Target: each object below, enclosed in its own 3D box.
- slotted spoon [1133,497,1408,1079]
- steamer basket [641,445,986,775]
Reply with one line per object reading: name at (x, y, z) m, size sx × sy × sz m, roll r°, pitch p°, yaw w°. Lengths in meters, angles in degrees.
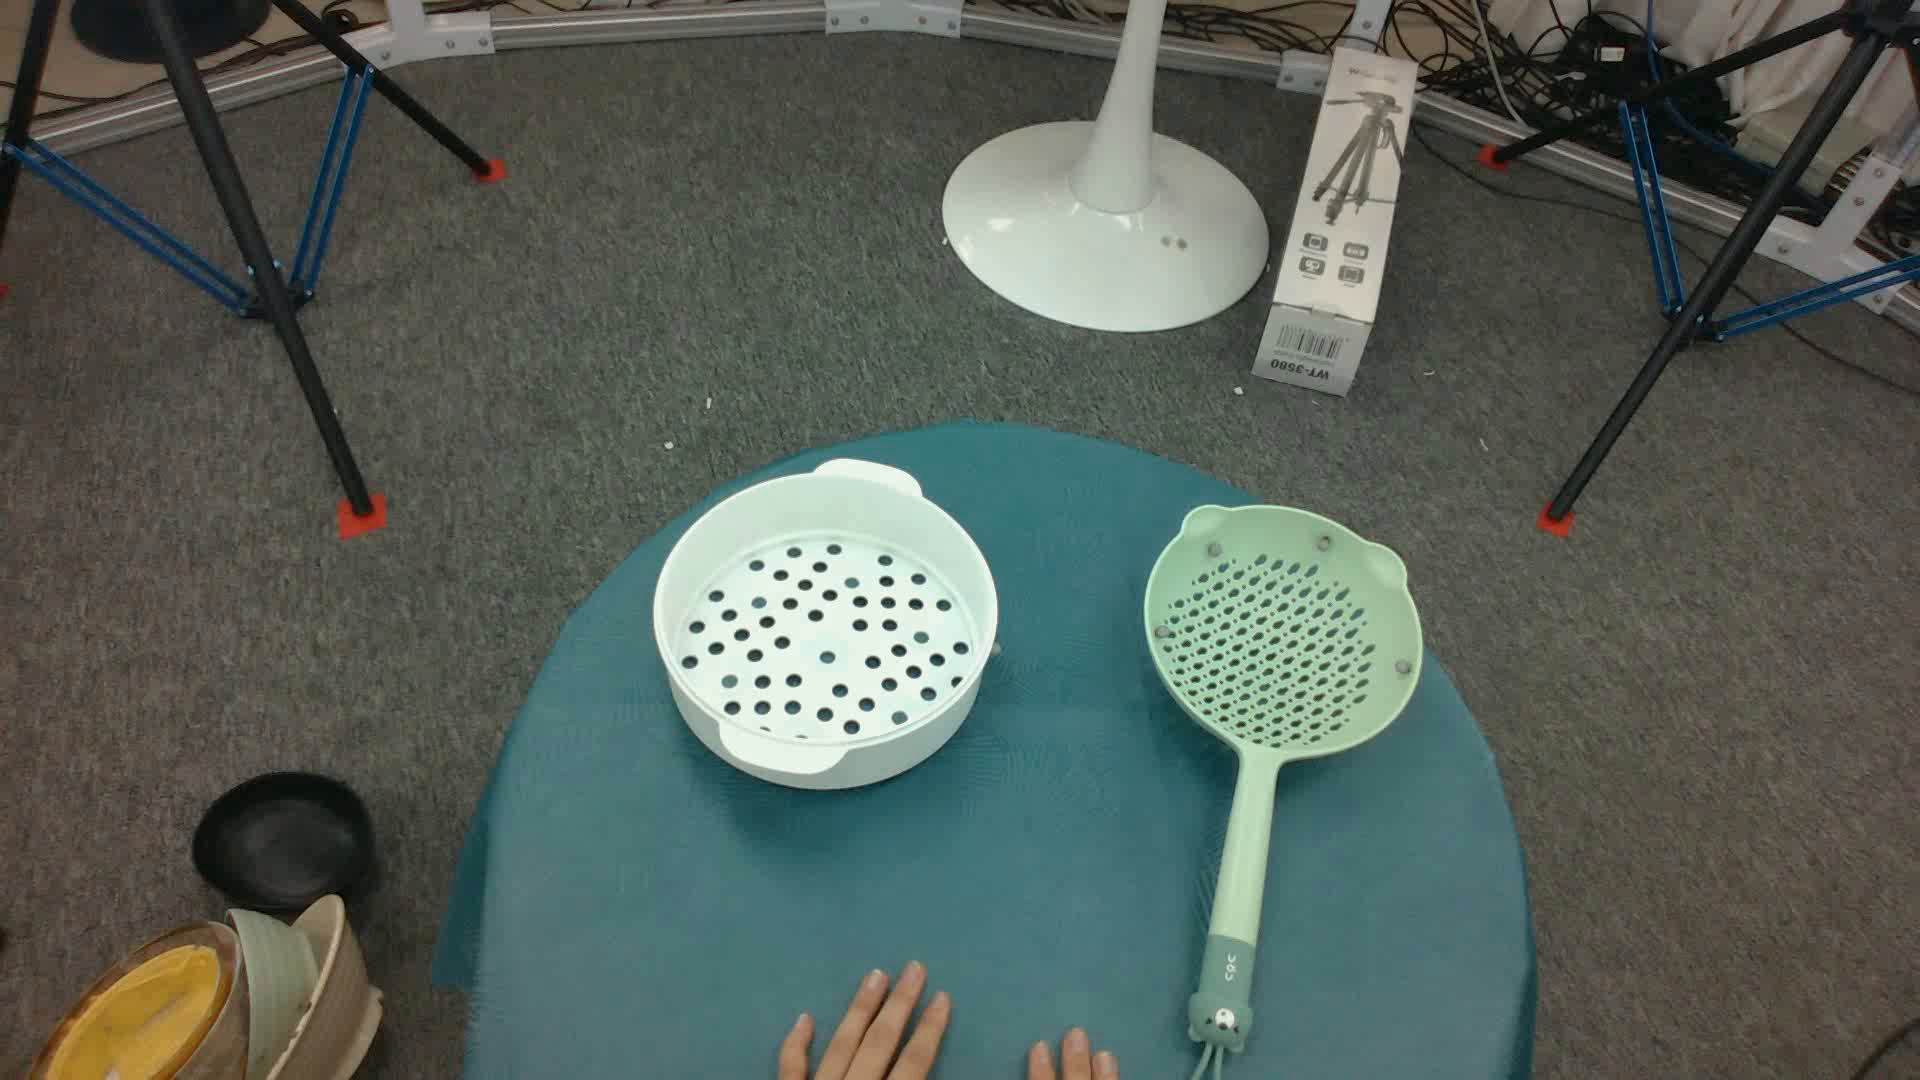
slotted spoon at (0.163, 0.131, 0.796) m, size 0.169 × 0.075 × 0.360 m, roll 14°, pitch 51°, yaw 5°
steamer basket at (-0.087, 0.046, 0.833) m, size 0.202 × 0.069 × 0.232 m, roll 11°, pitch 51°, yaw 3°
